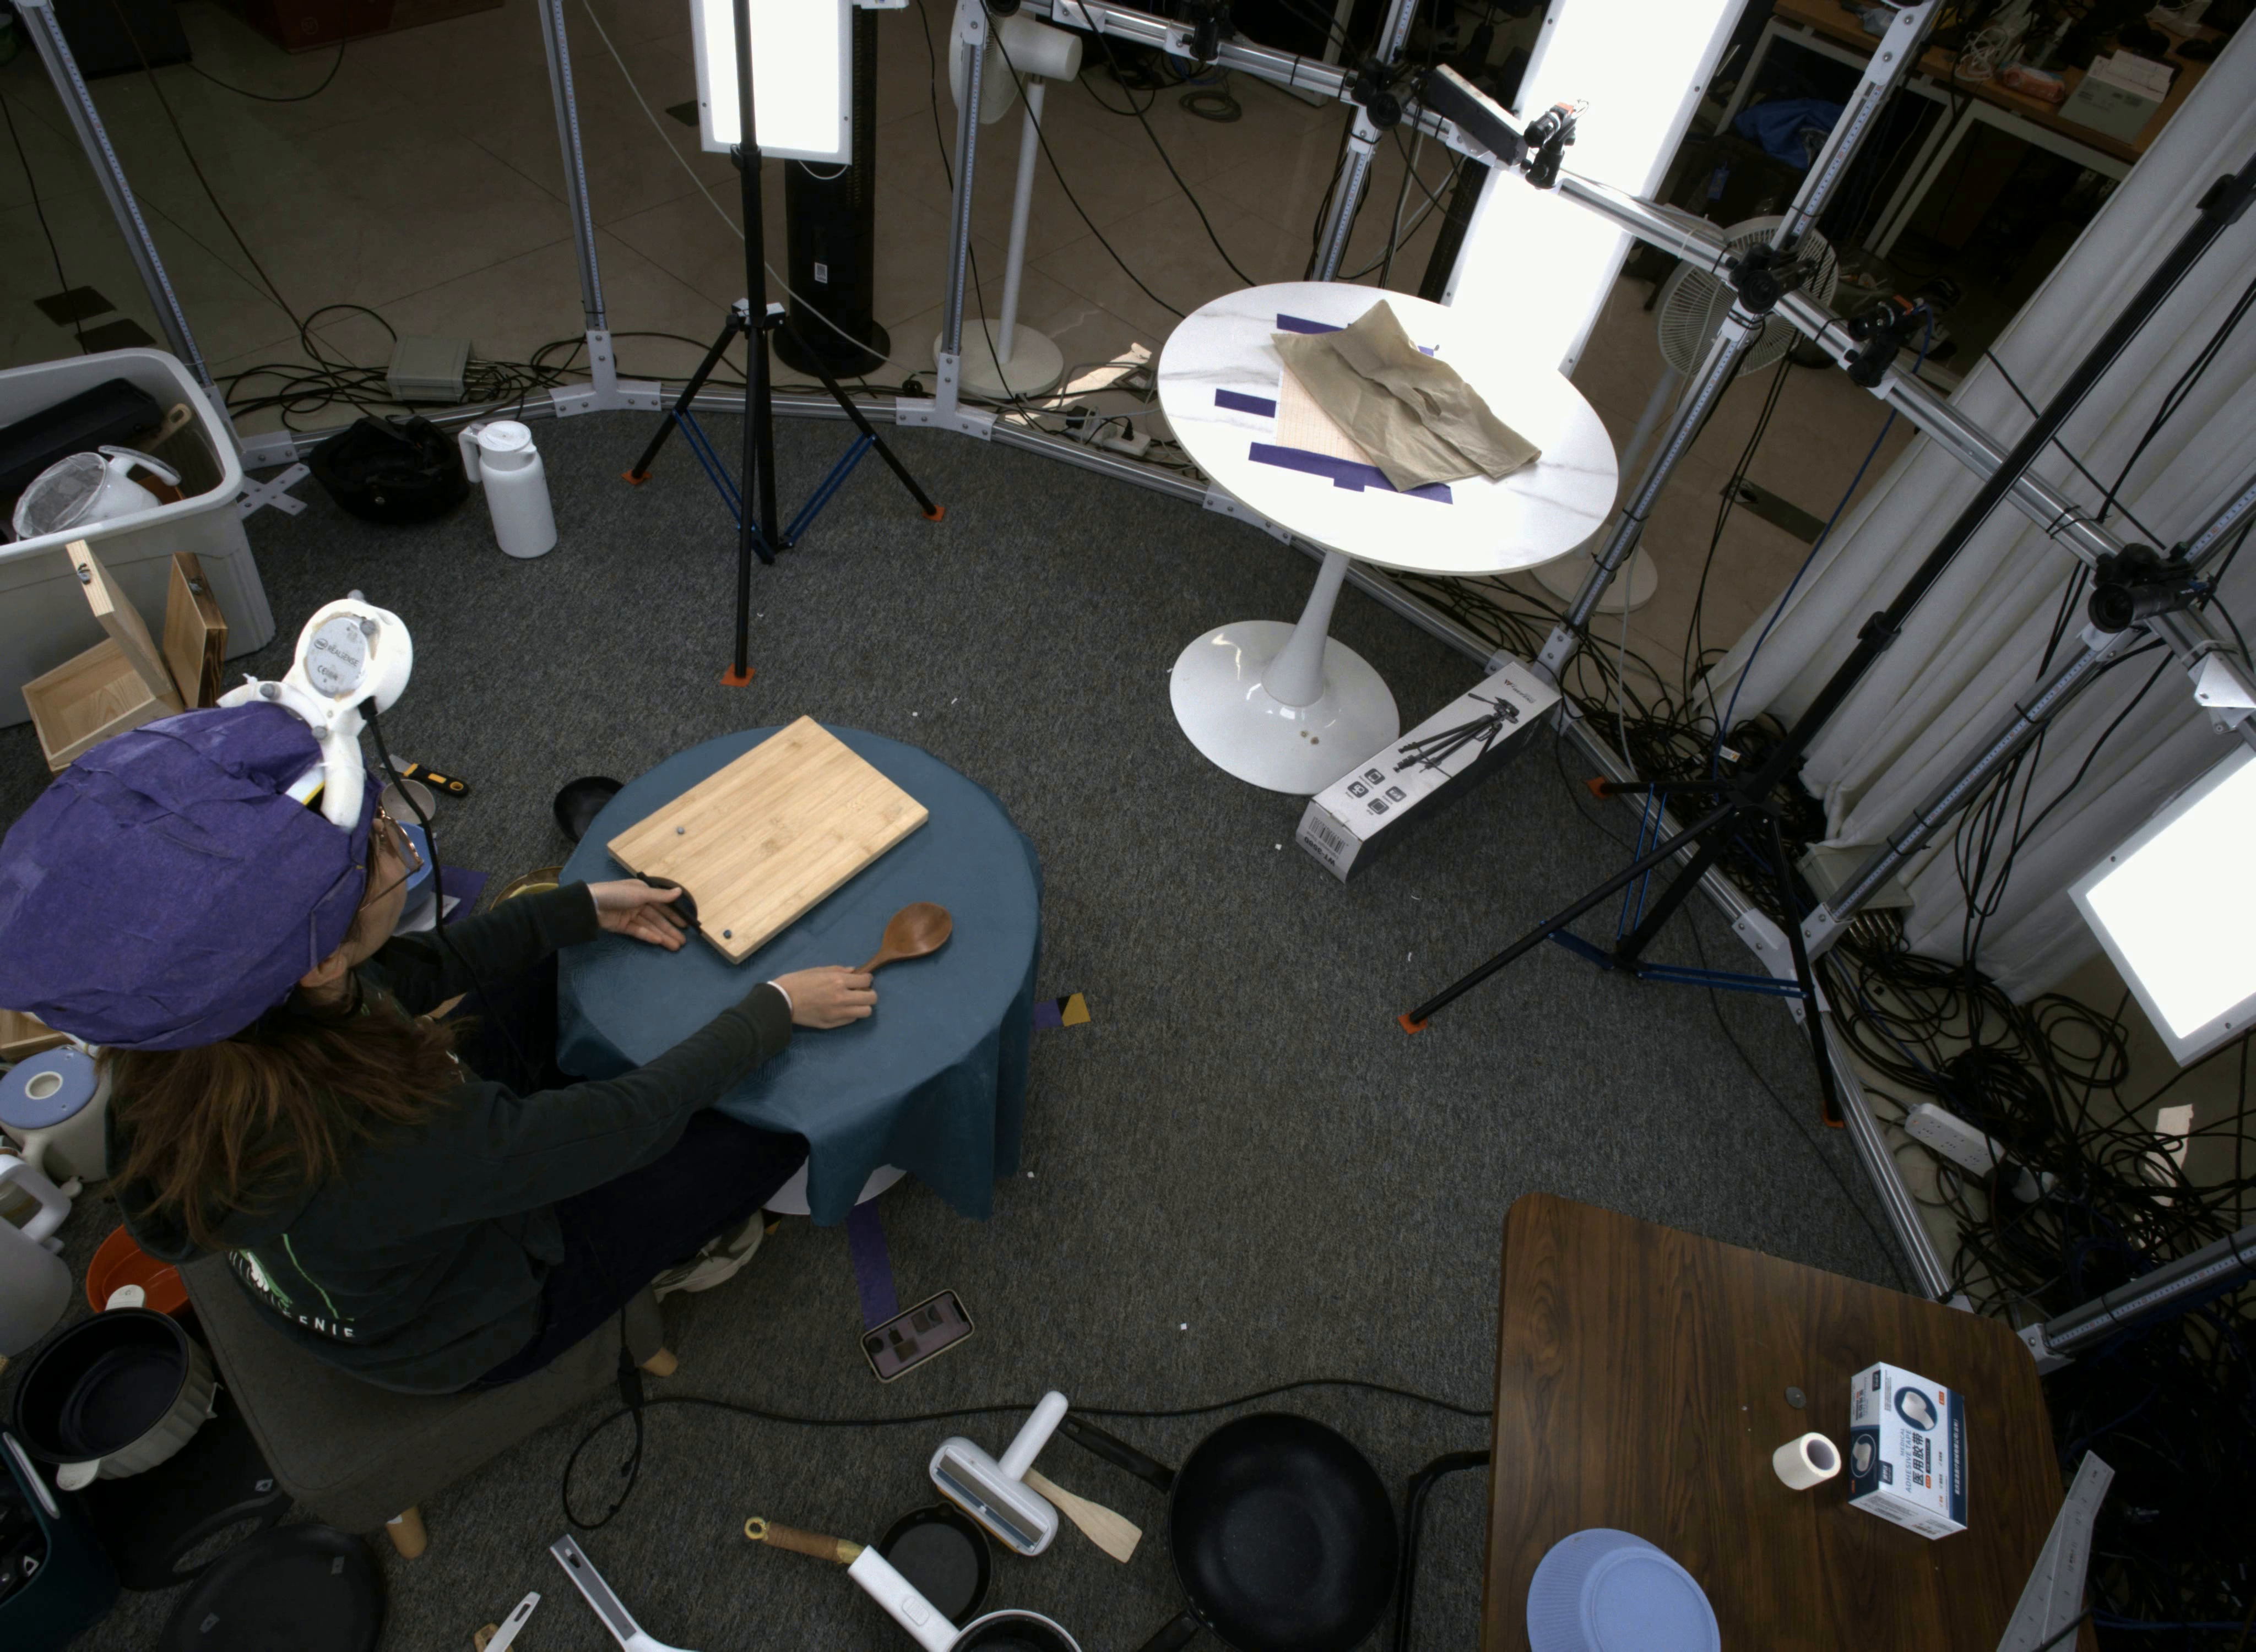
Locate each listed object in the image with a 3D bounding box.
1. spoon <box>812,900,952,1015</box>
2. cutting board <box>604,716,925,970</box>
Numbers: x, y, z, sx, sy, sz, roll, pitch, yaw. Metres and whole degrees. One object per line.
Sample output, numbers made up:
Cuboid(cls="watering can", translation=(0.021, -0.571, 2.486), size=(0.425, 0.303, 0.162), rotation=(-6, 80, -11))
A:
Cuboid(cls="spoon", translation=(-0.308, 0.164, 1.625), size=(0.074, 0.017, 0.216), rotation=(41, 54, 15))
Cuboid(cls="cutting board", translation=(-0.469, 0.010, 1.692), size=(0.245, 0.024, 0.348), rotation=(36, 51, 14))
